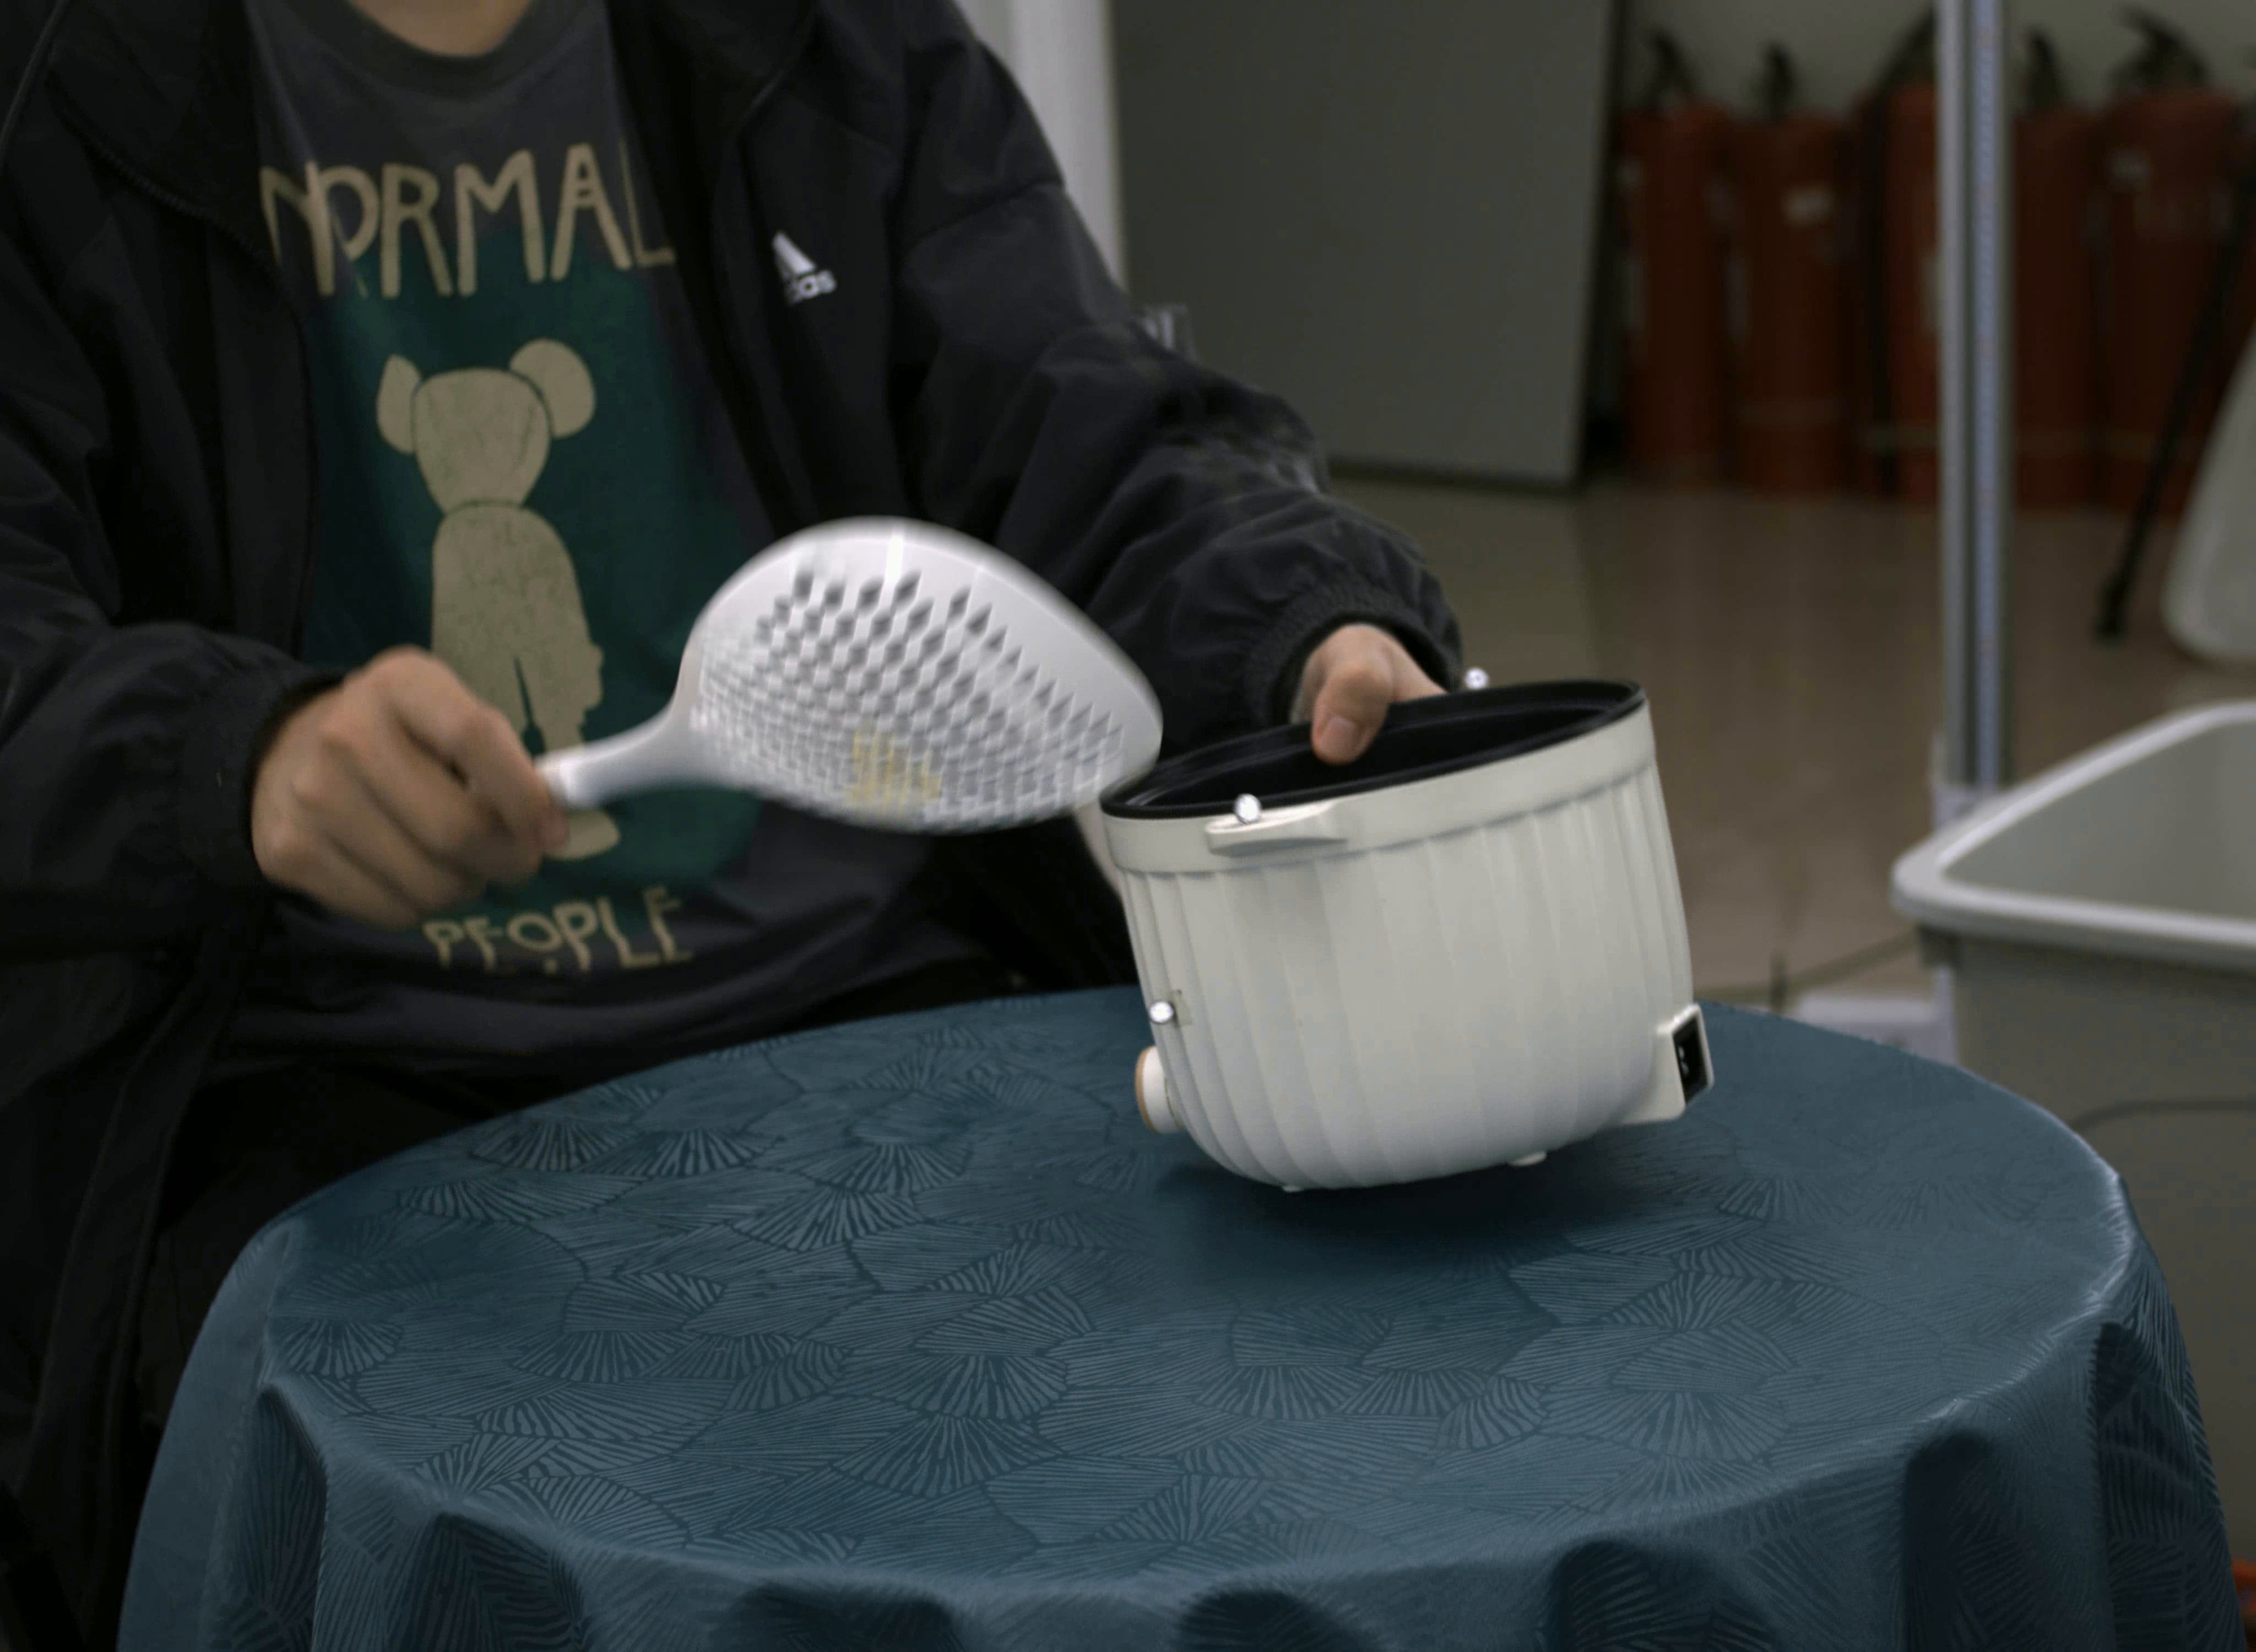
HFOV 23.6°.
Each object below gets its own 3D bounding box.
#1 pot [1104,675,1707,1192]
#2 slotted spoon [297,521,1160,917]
[{"bbox_3d":[0.086,0.037,1.745,0.190,0.144,0.237,-4,8,23],"label":"pot"},{"bbox_3d":[-0.139,-0.013,1.689,0.351,0.135,0.050,-12,48,45],"label":"slotted spoon"}]
